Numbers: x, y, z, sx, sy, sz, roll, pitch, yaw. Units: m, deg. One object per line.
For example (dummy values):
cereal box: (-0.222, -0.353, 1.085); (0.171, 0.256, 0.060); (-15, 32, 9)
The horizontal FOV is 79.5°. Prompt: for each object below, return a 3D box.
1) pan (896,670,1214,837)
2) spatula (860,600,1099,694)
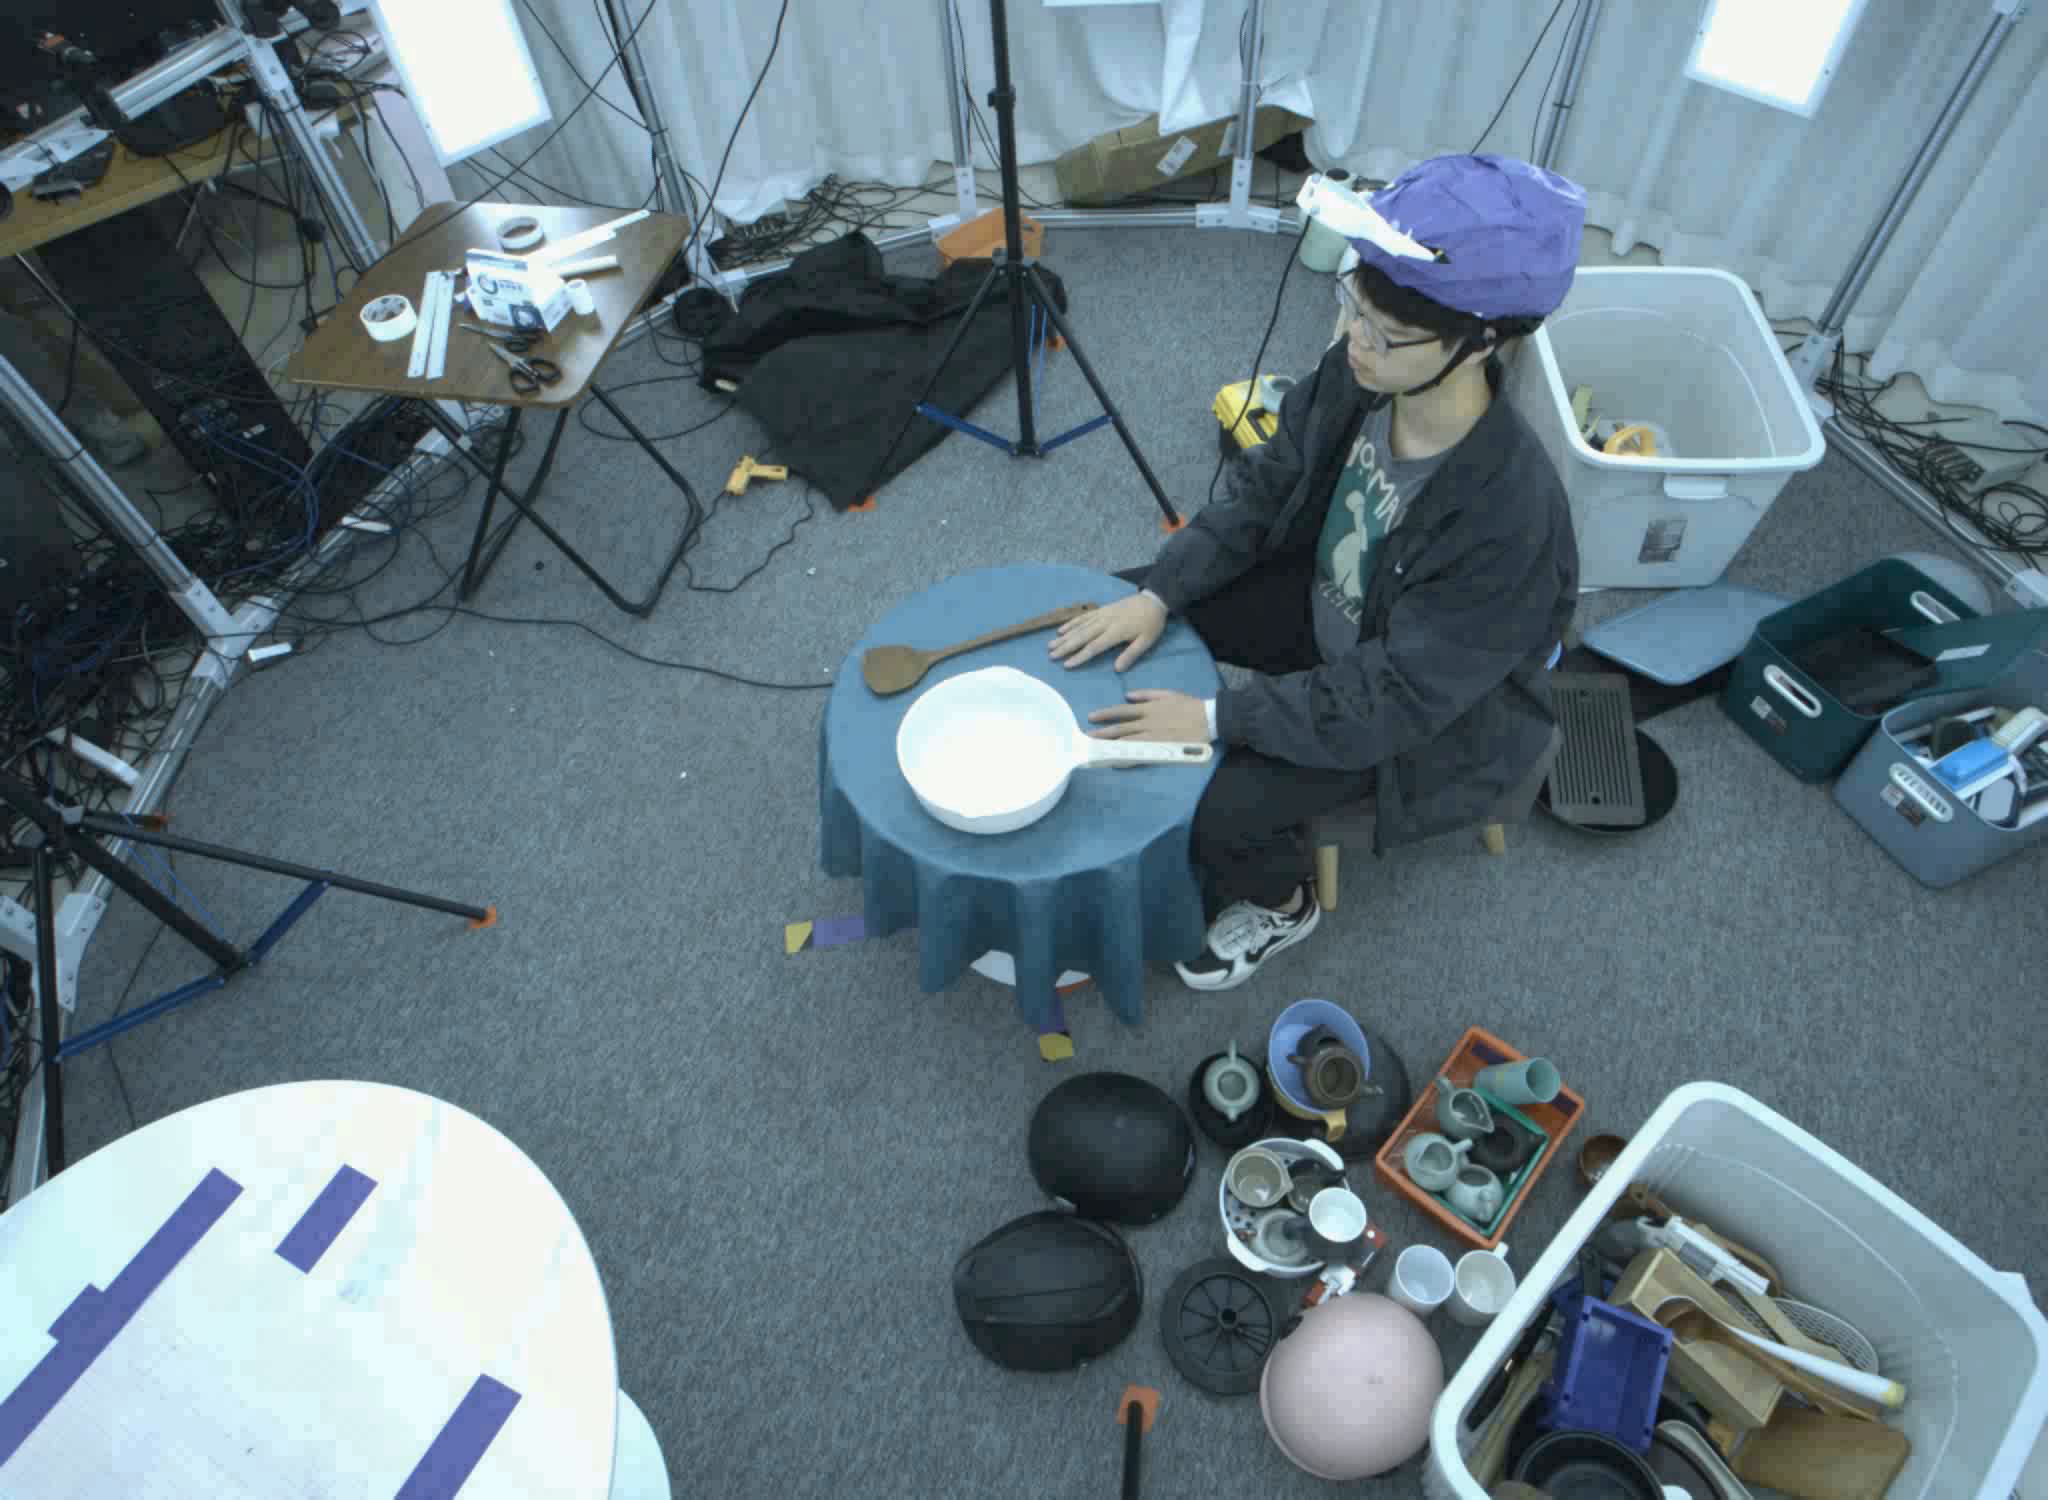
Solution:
pan: (0.042, 0.016, 1.703); (0.433, 0.103, 0.261); (5, 53, 7)
spatula: (-0.064, -0.171, 1.895); (0.388, 0.016, 0.094); (-18, 56, -11)
